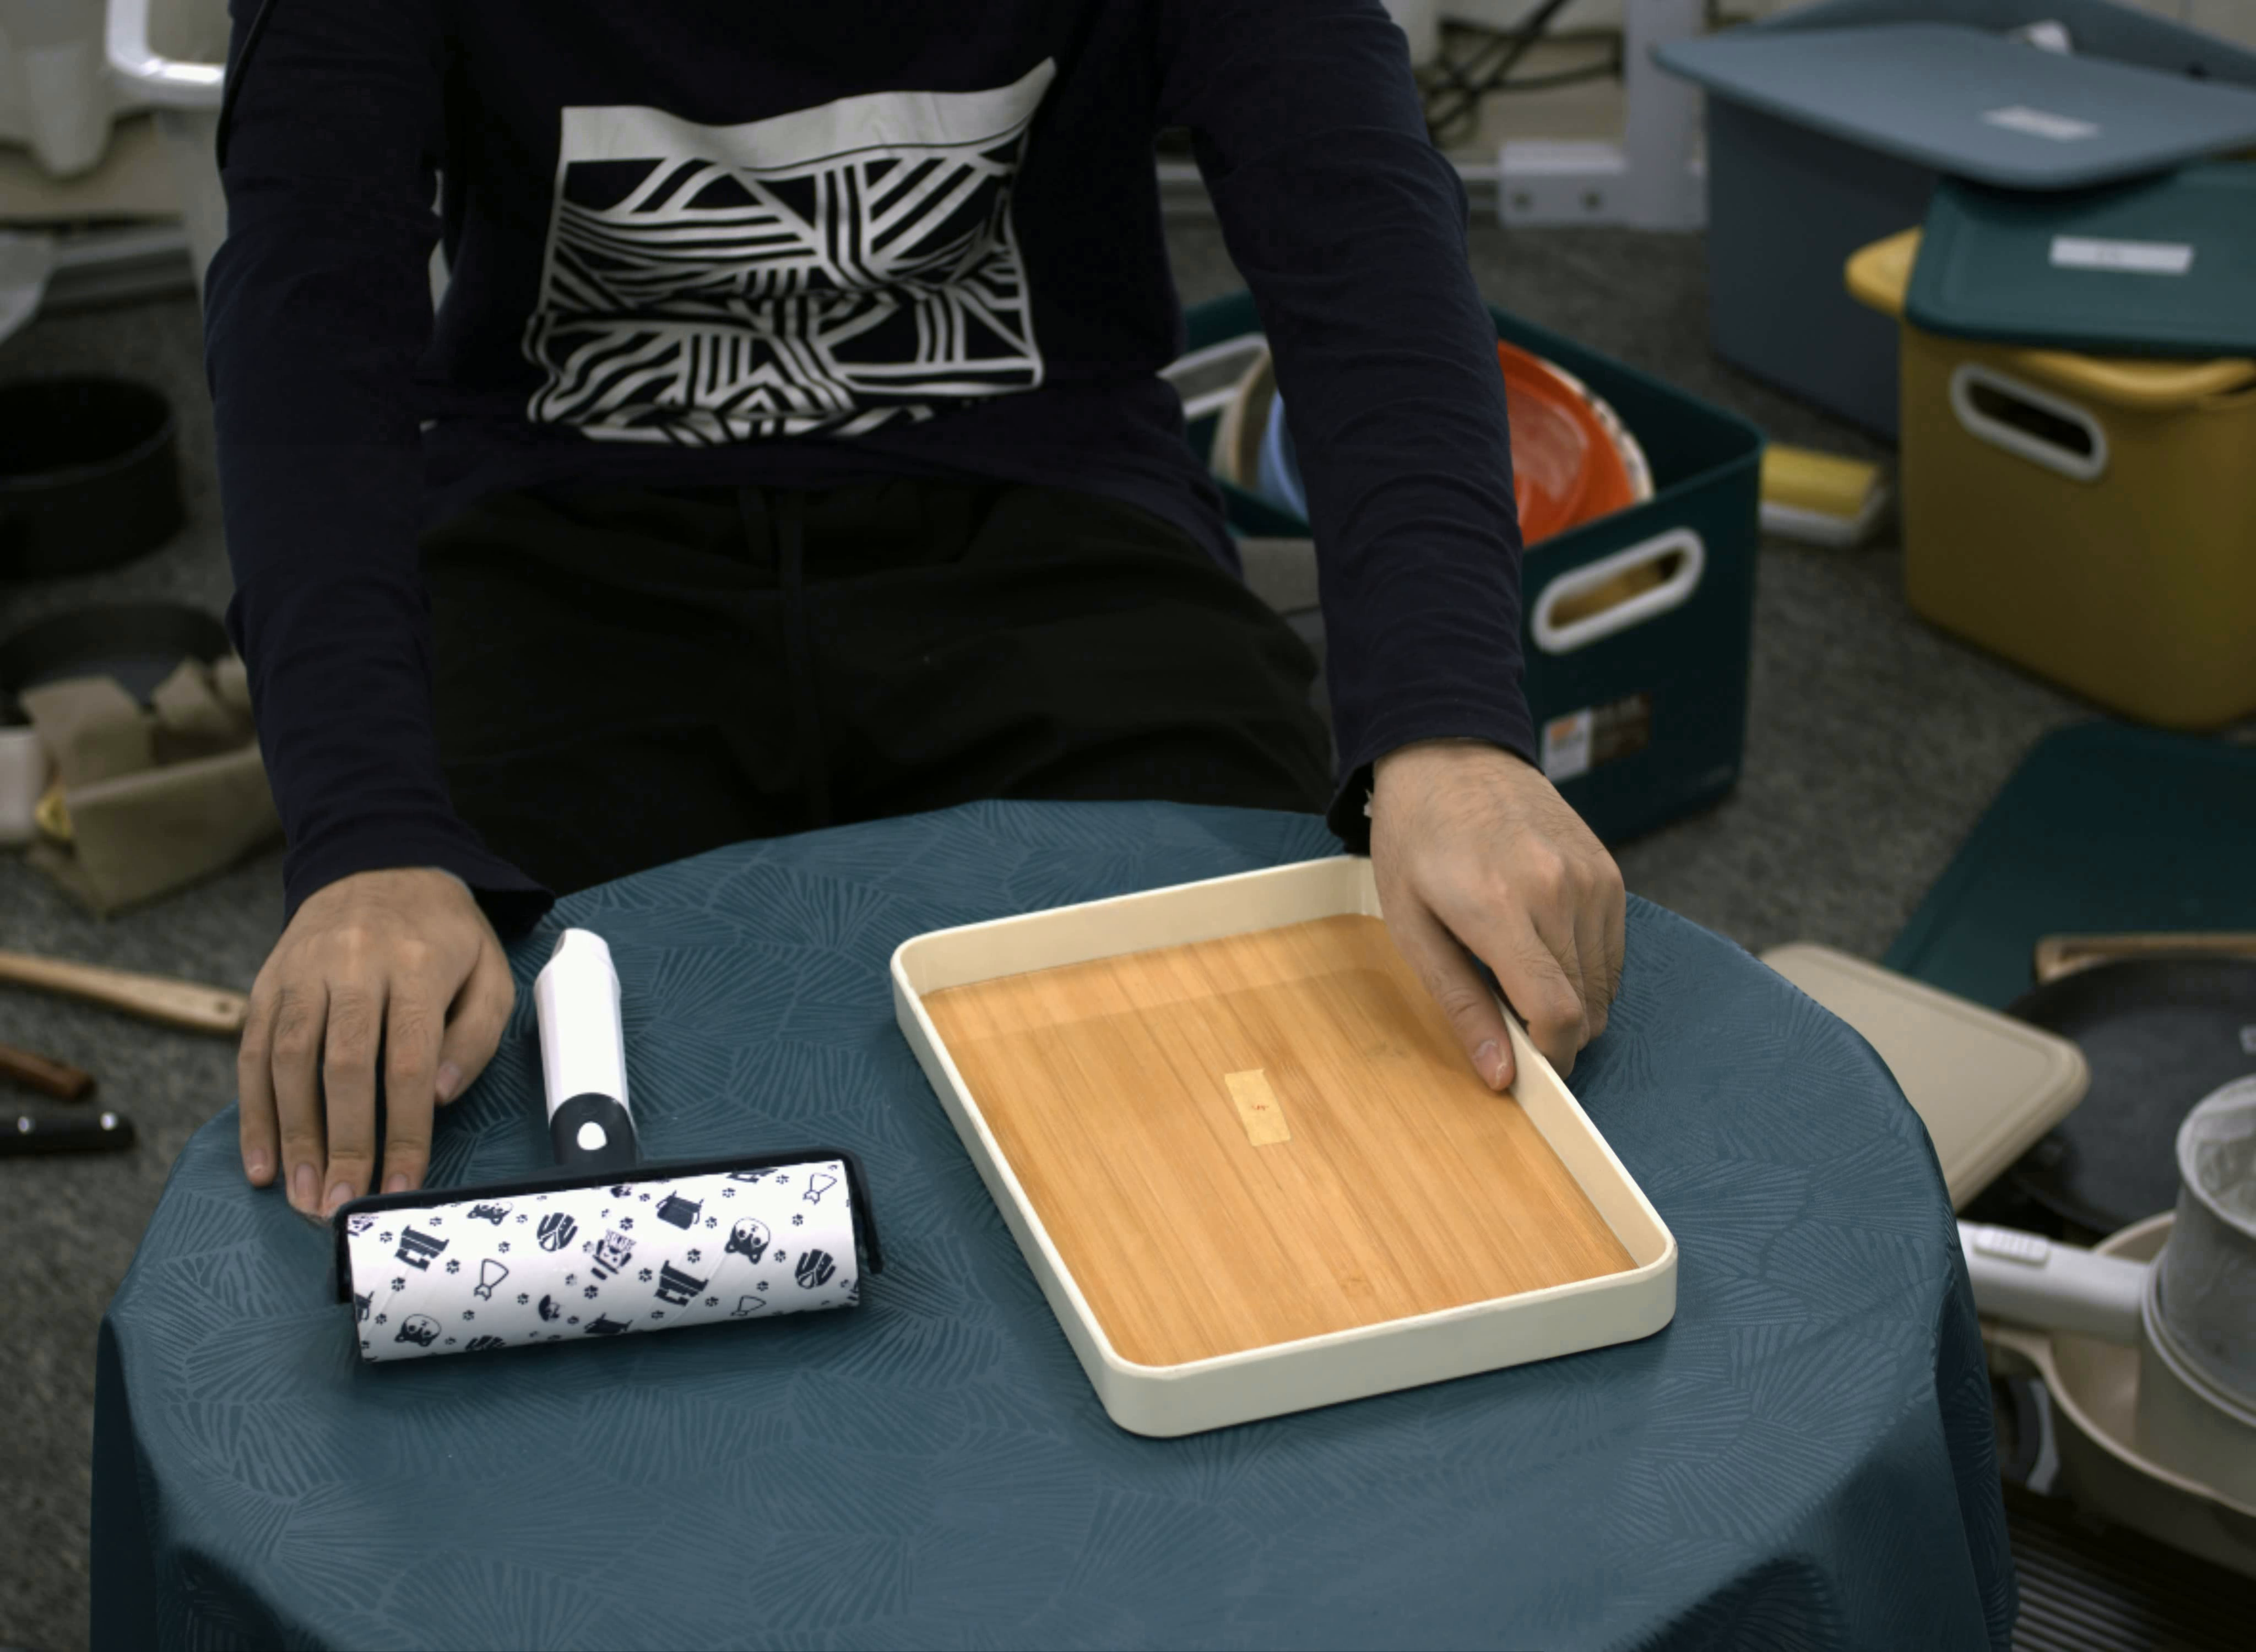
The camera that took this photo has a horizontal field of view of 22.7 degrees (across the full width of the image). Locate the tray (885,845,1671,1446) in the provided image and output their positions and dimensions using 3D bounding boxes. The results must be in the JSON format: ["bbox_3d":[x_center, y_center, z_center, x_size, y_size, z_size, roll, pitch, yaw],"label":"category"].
[{"bbox_3d":[0.044,0.100,1.870,0.192,0.027,0.303,-12,29,-12],"label":"tray"}]

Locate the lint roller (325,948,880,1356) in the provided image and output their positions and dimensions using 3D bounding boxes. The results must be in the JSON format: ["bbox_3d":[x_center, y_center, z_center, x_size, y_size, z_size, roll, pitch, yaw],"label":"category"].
[{"bbox_3d":[-0.184,0.095,1.884,0.176,0.050,0.250,-7,26,-7],"label":"lint roller"}]
